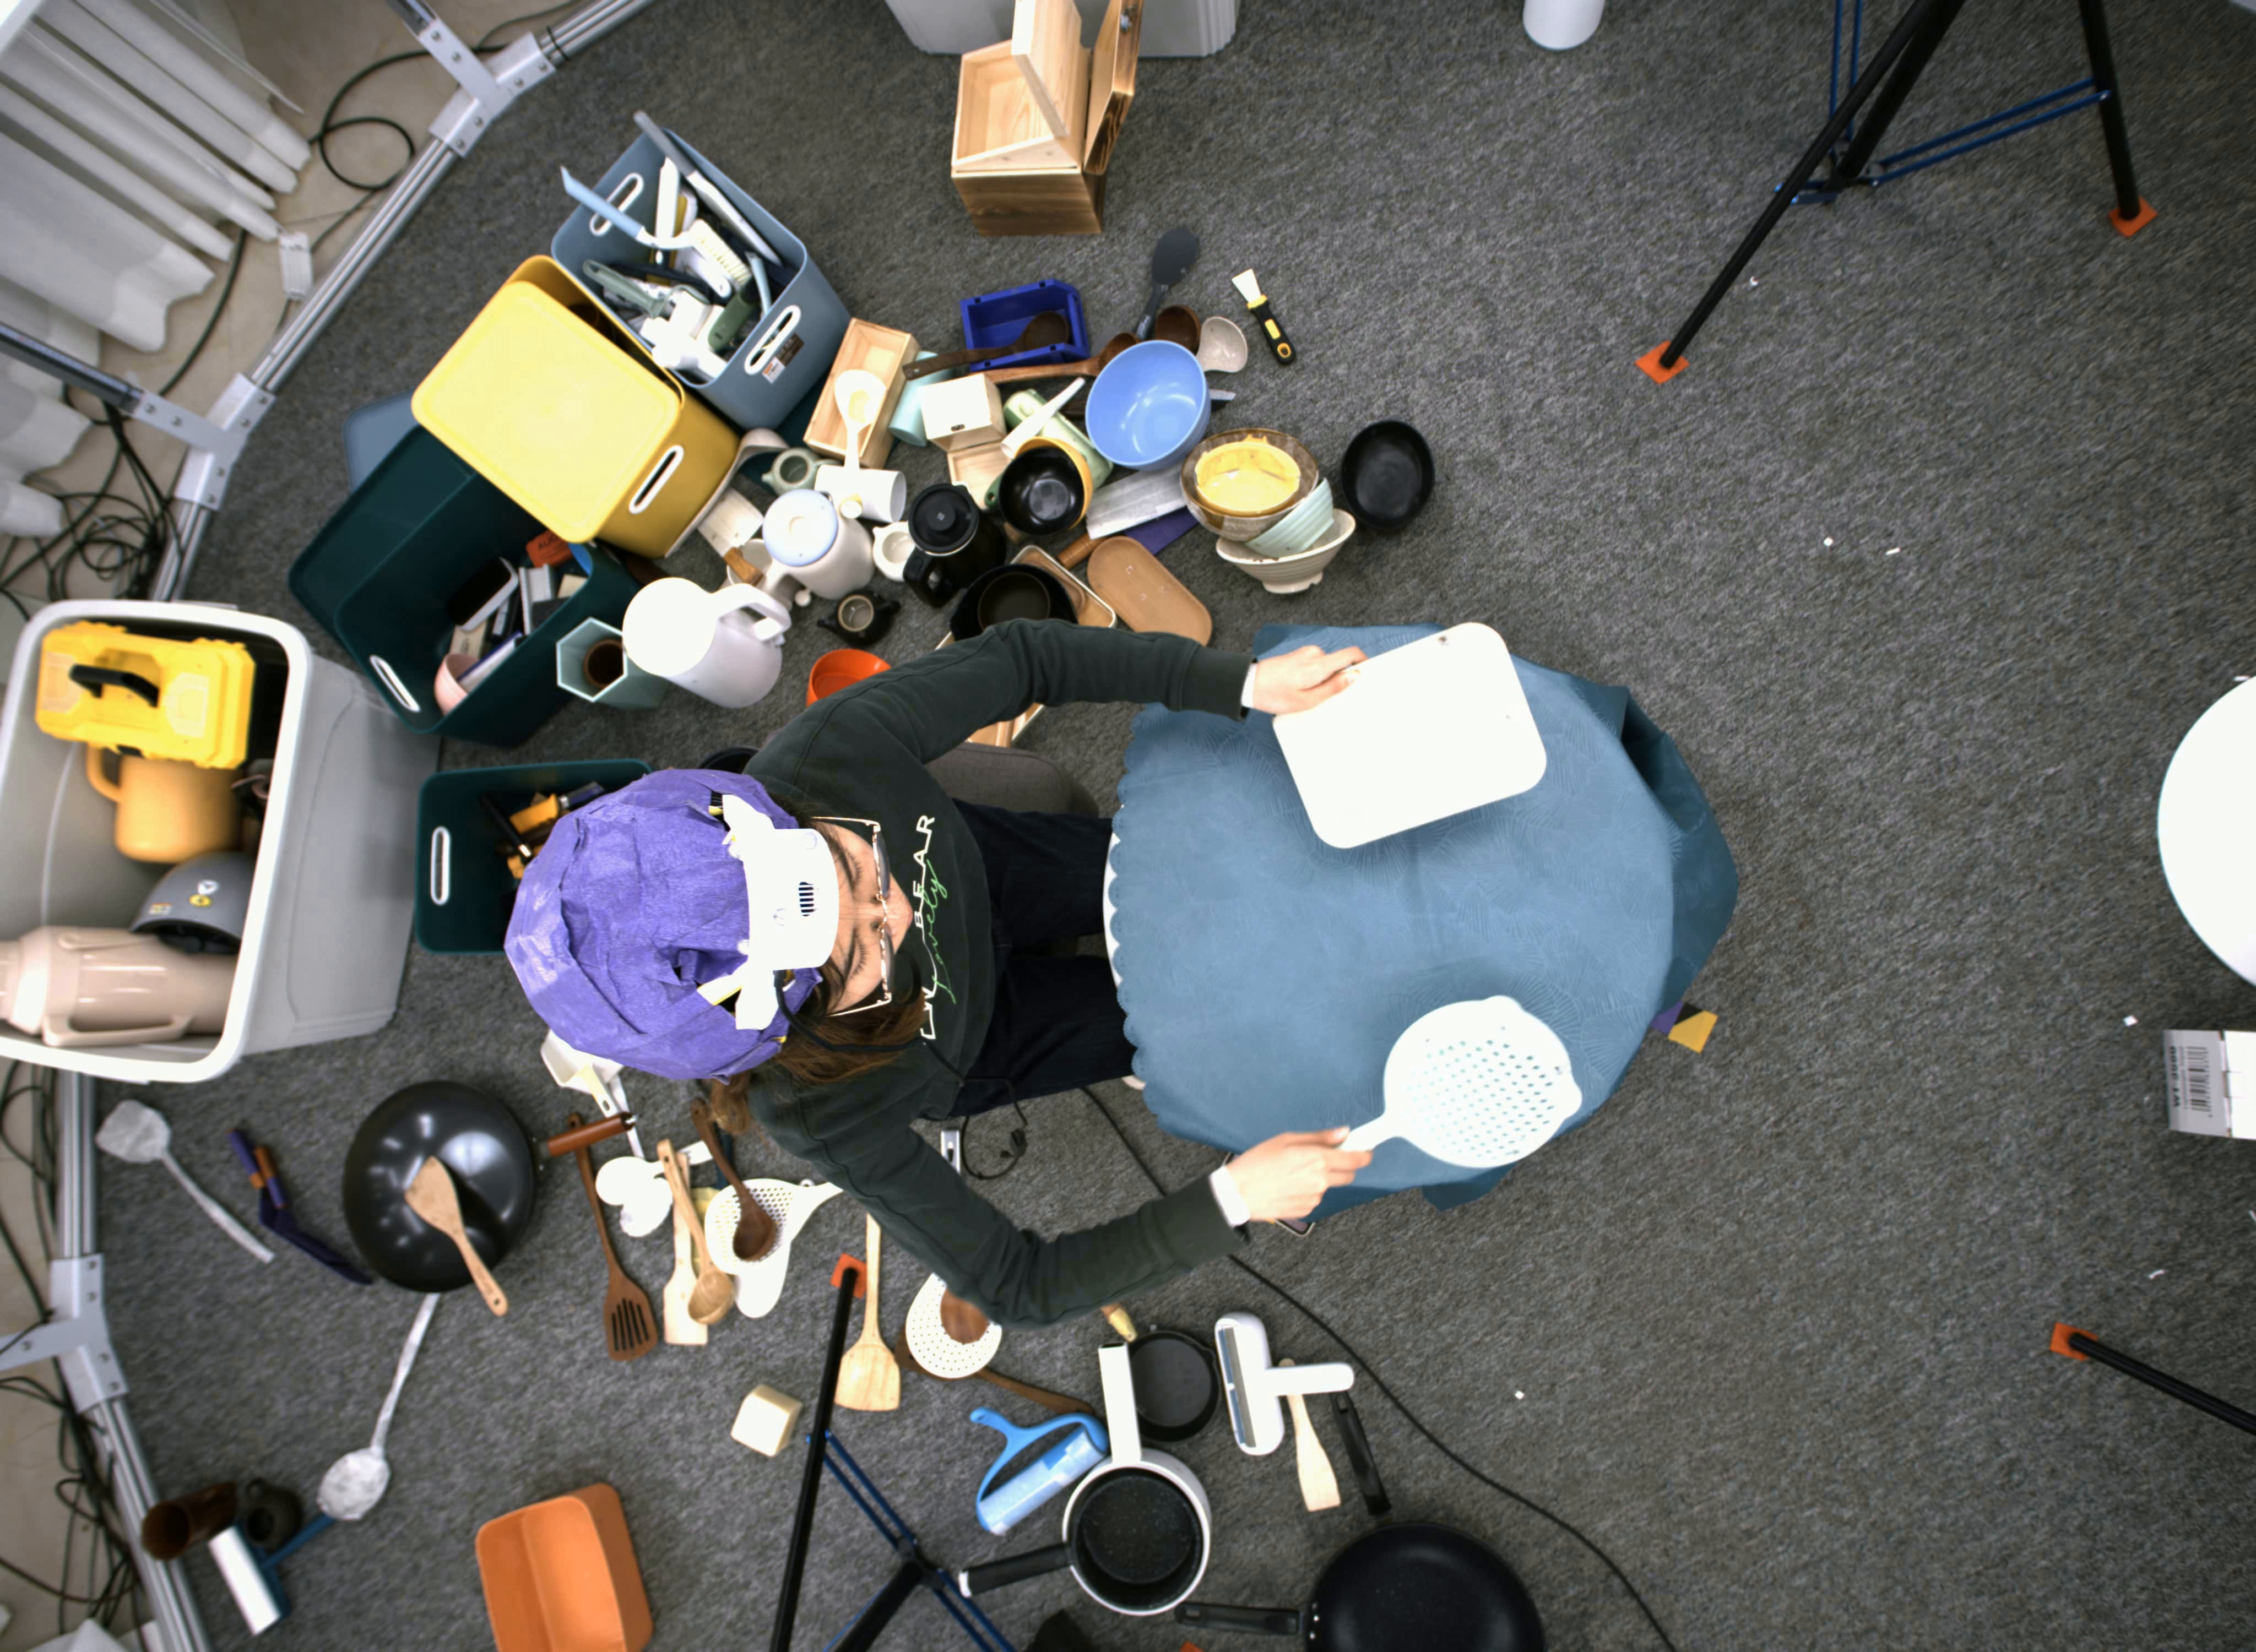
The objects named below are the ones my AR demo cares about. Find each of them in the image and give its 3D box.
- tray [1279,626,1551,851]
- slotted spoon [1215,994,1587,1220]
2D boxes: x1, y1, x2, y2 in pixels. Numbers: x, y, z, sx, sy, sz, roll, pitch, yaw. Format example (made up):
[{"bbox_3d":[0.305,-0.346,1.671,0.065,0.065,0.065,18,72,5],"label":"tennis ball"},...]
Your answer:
[{"bbox_3d":[0.278,-0.084,1.342,0.243,0.017,0.172,-19,98,25],"label":"tray"},{"bbox_3d":[0.247,0.280,1.293,0.358,0.077,0.166,-19,48,-8],"label":"slotted spoon"}]
